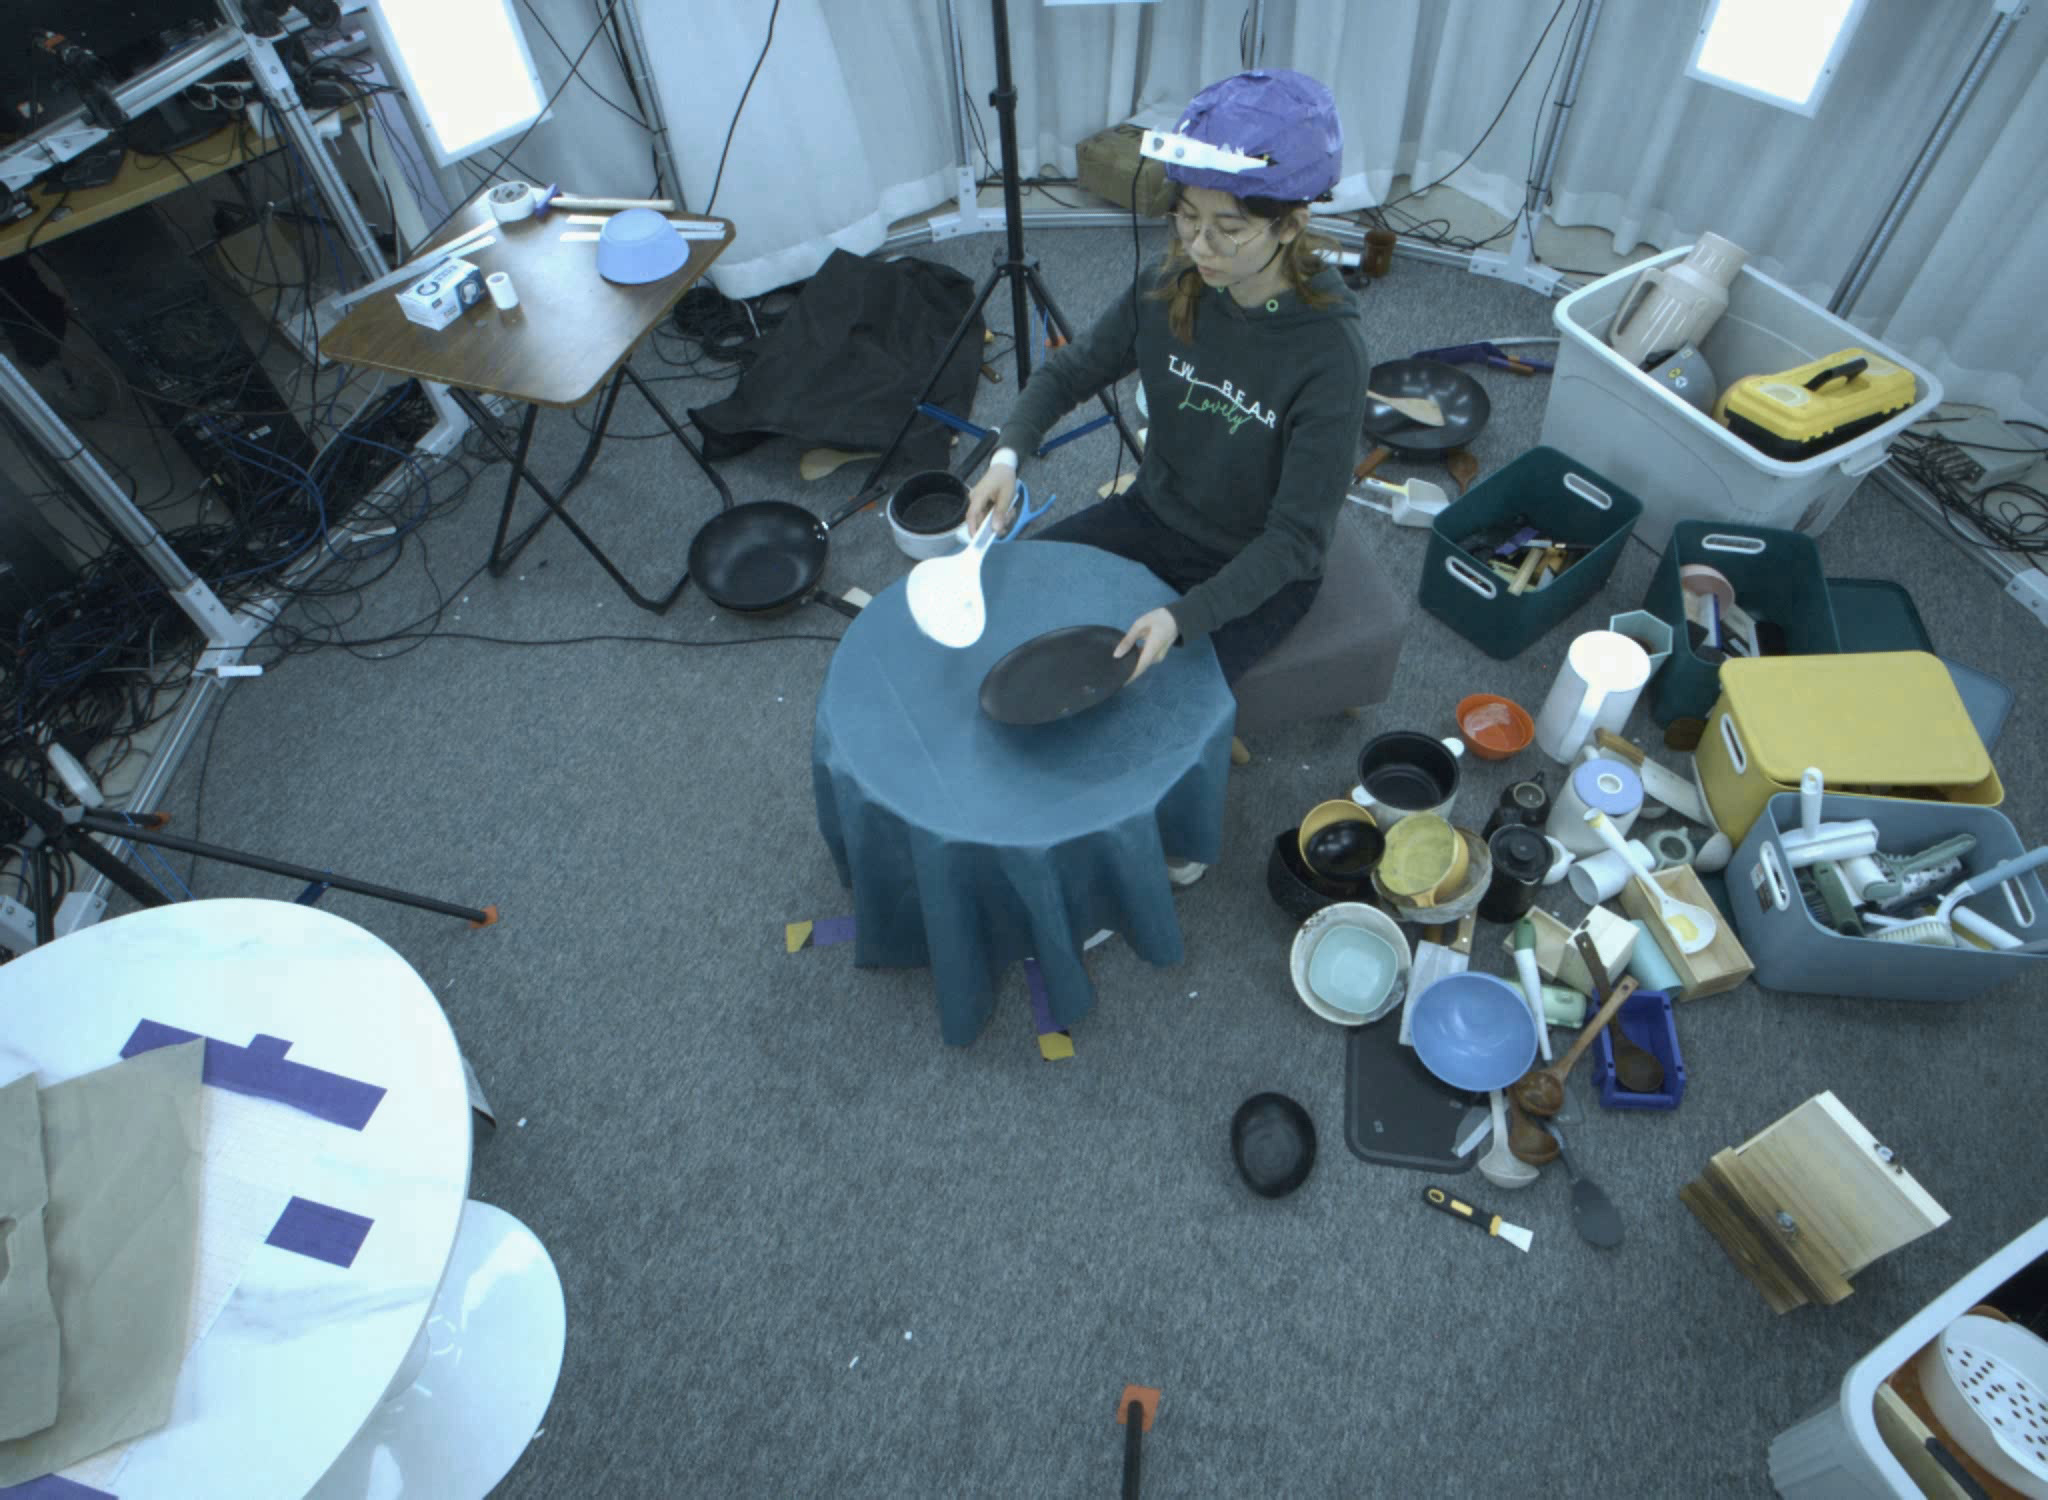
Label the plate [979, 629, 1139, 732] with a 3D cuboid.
[{"bbox_3d":[0.052,-0.098,1.795,0.243,0.024,0.242,-13,36,11],"label":"plate"}]

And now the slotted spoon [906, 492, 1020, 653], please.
[{"bbox_3d":[-0.080,-0.278,1.830,0.138,0.045,0.350,43,53,-21],"label":"slotted spoon"}]
